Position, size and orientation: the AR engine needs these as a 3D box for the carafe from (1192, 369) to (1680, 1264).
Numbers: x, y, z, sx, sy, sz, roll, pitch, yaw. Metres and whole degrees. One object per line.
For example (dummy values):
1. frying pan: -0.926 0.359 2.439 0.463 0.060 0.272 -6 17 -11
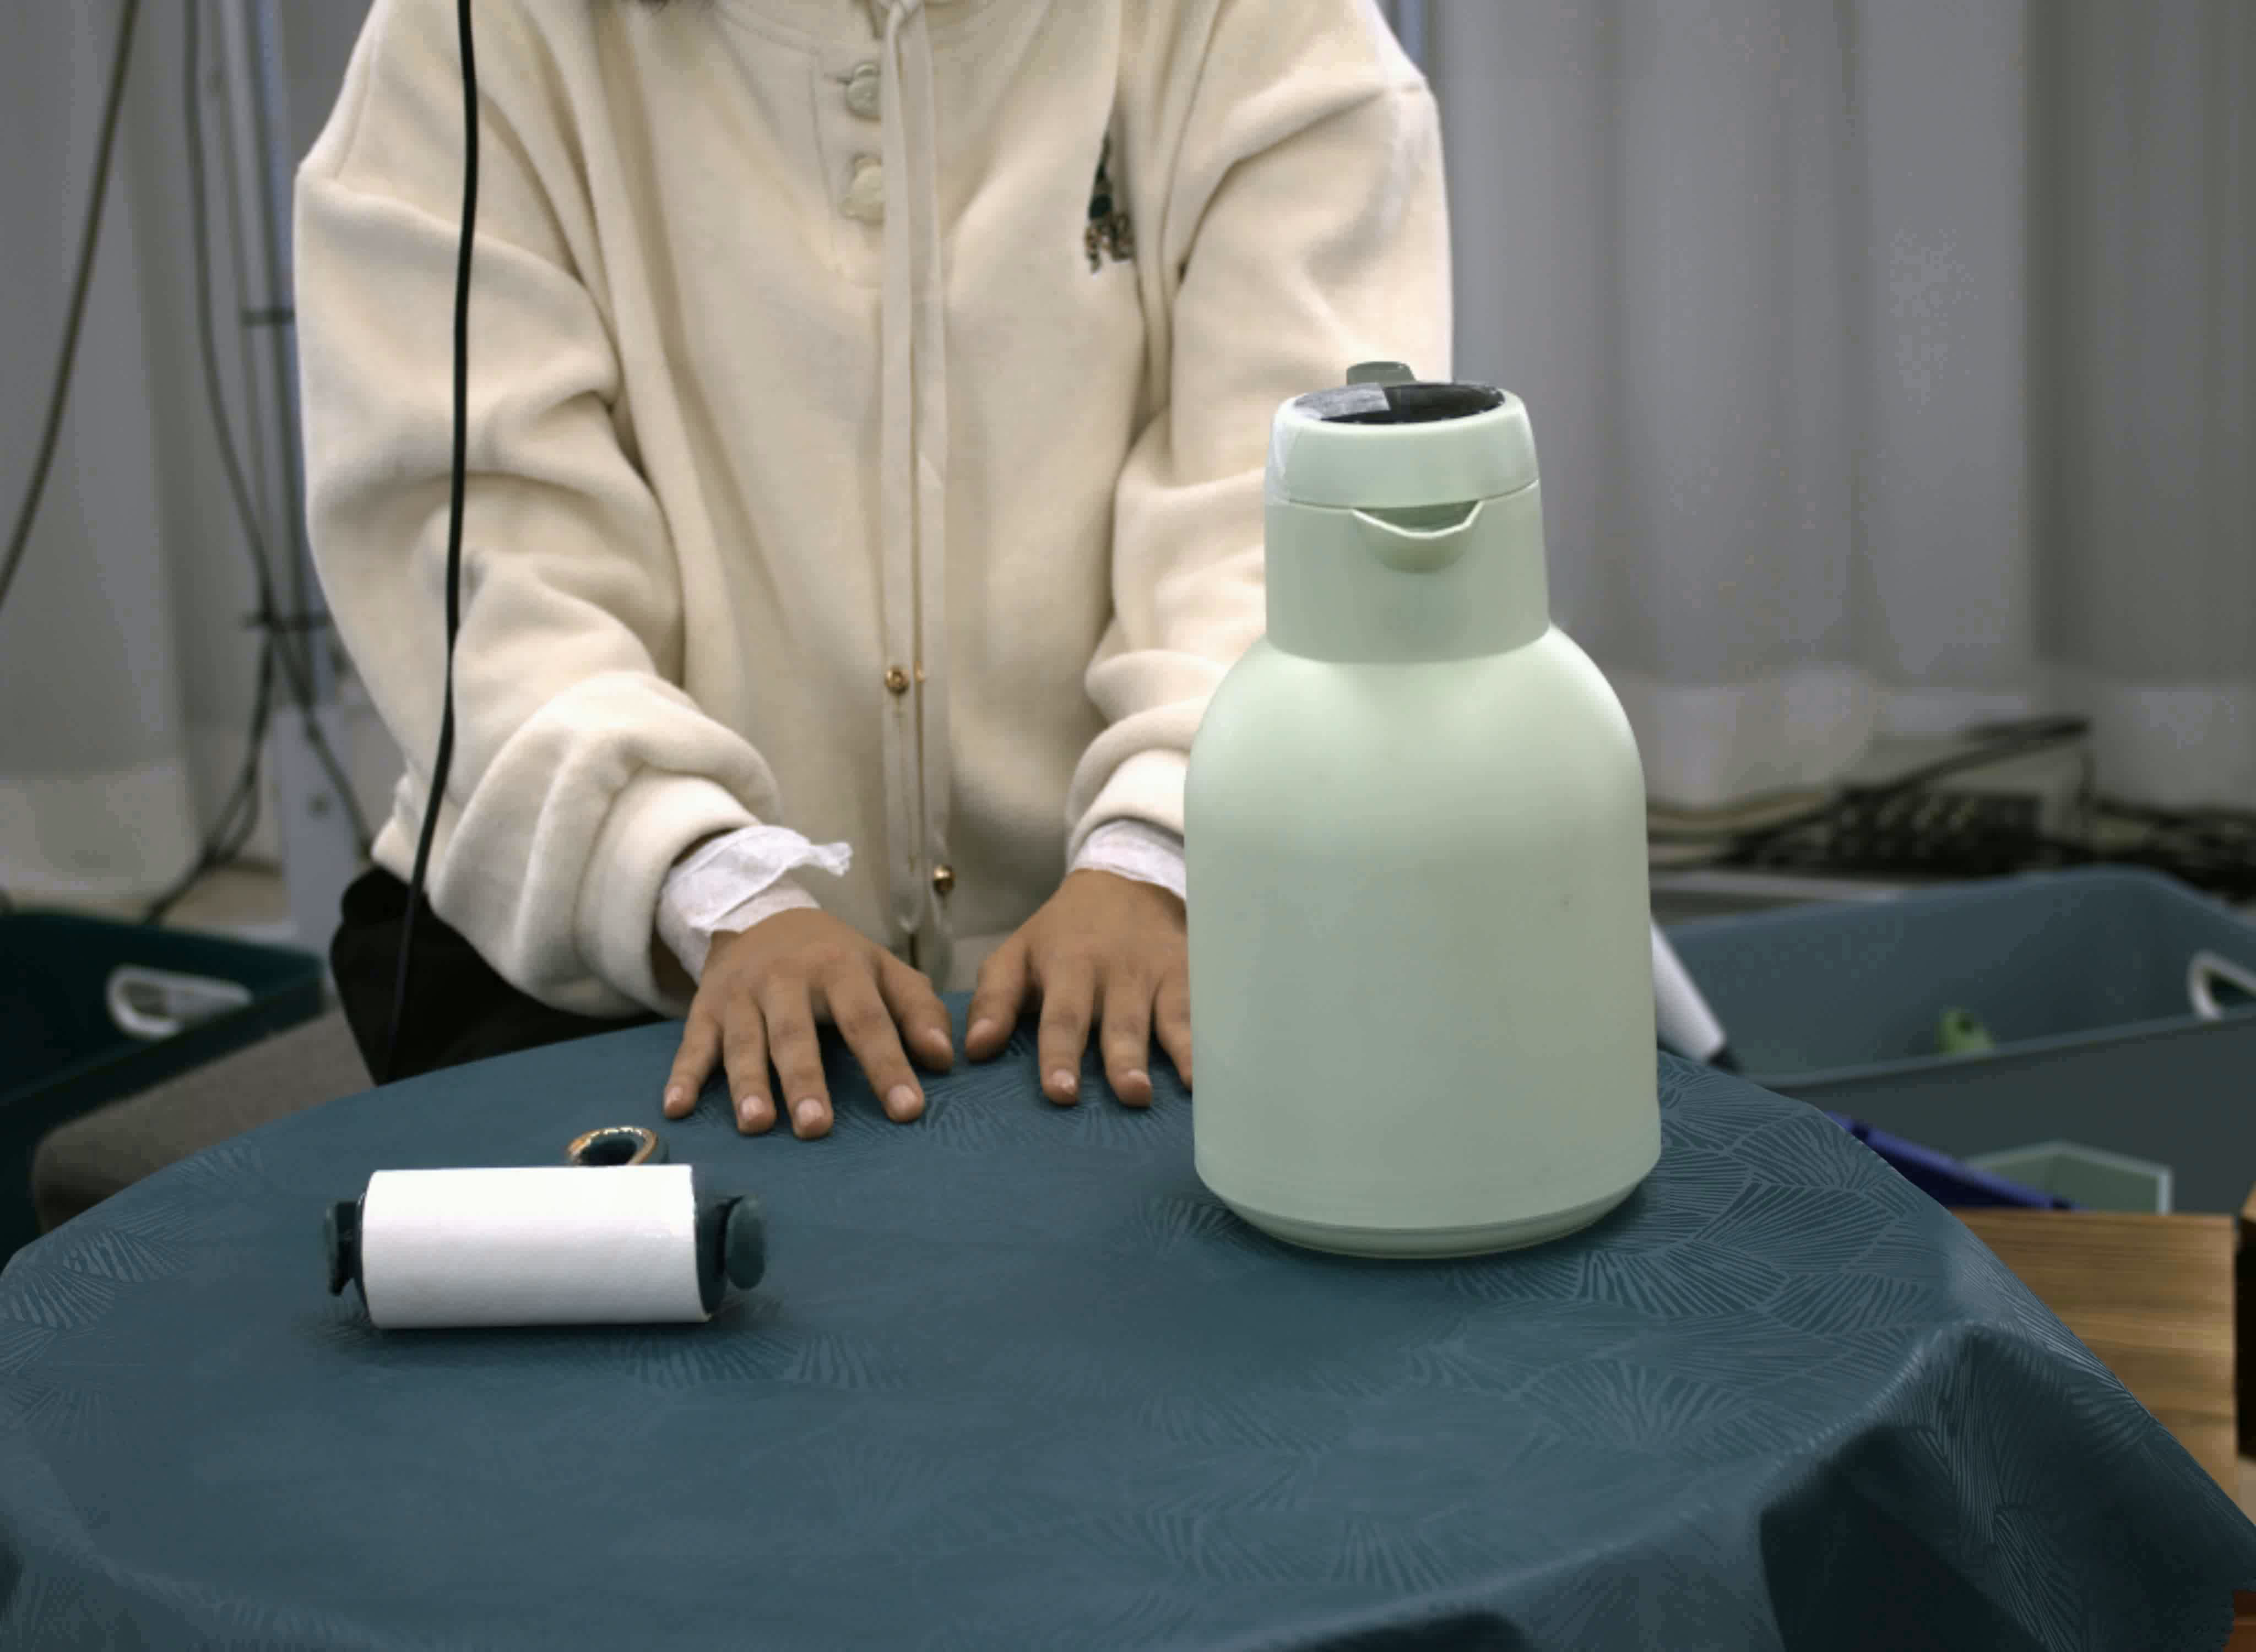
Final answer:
1. carafe: 0.089 -0.008 1.679 0.144 0.256 0.188 -5 10 -2

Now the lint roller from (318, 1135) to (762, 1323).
1. lint roller: -0.169 0.106 1.684 0.134 0.048 0.181 -1 15 5
